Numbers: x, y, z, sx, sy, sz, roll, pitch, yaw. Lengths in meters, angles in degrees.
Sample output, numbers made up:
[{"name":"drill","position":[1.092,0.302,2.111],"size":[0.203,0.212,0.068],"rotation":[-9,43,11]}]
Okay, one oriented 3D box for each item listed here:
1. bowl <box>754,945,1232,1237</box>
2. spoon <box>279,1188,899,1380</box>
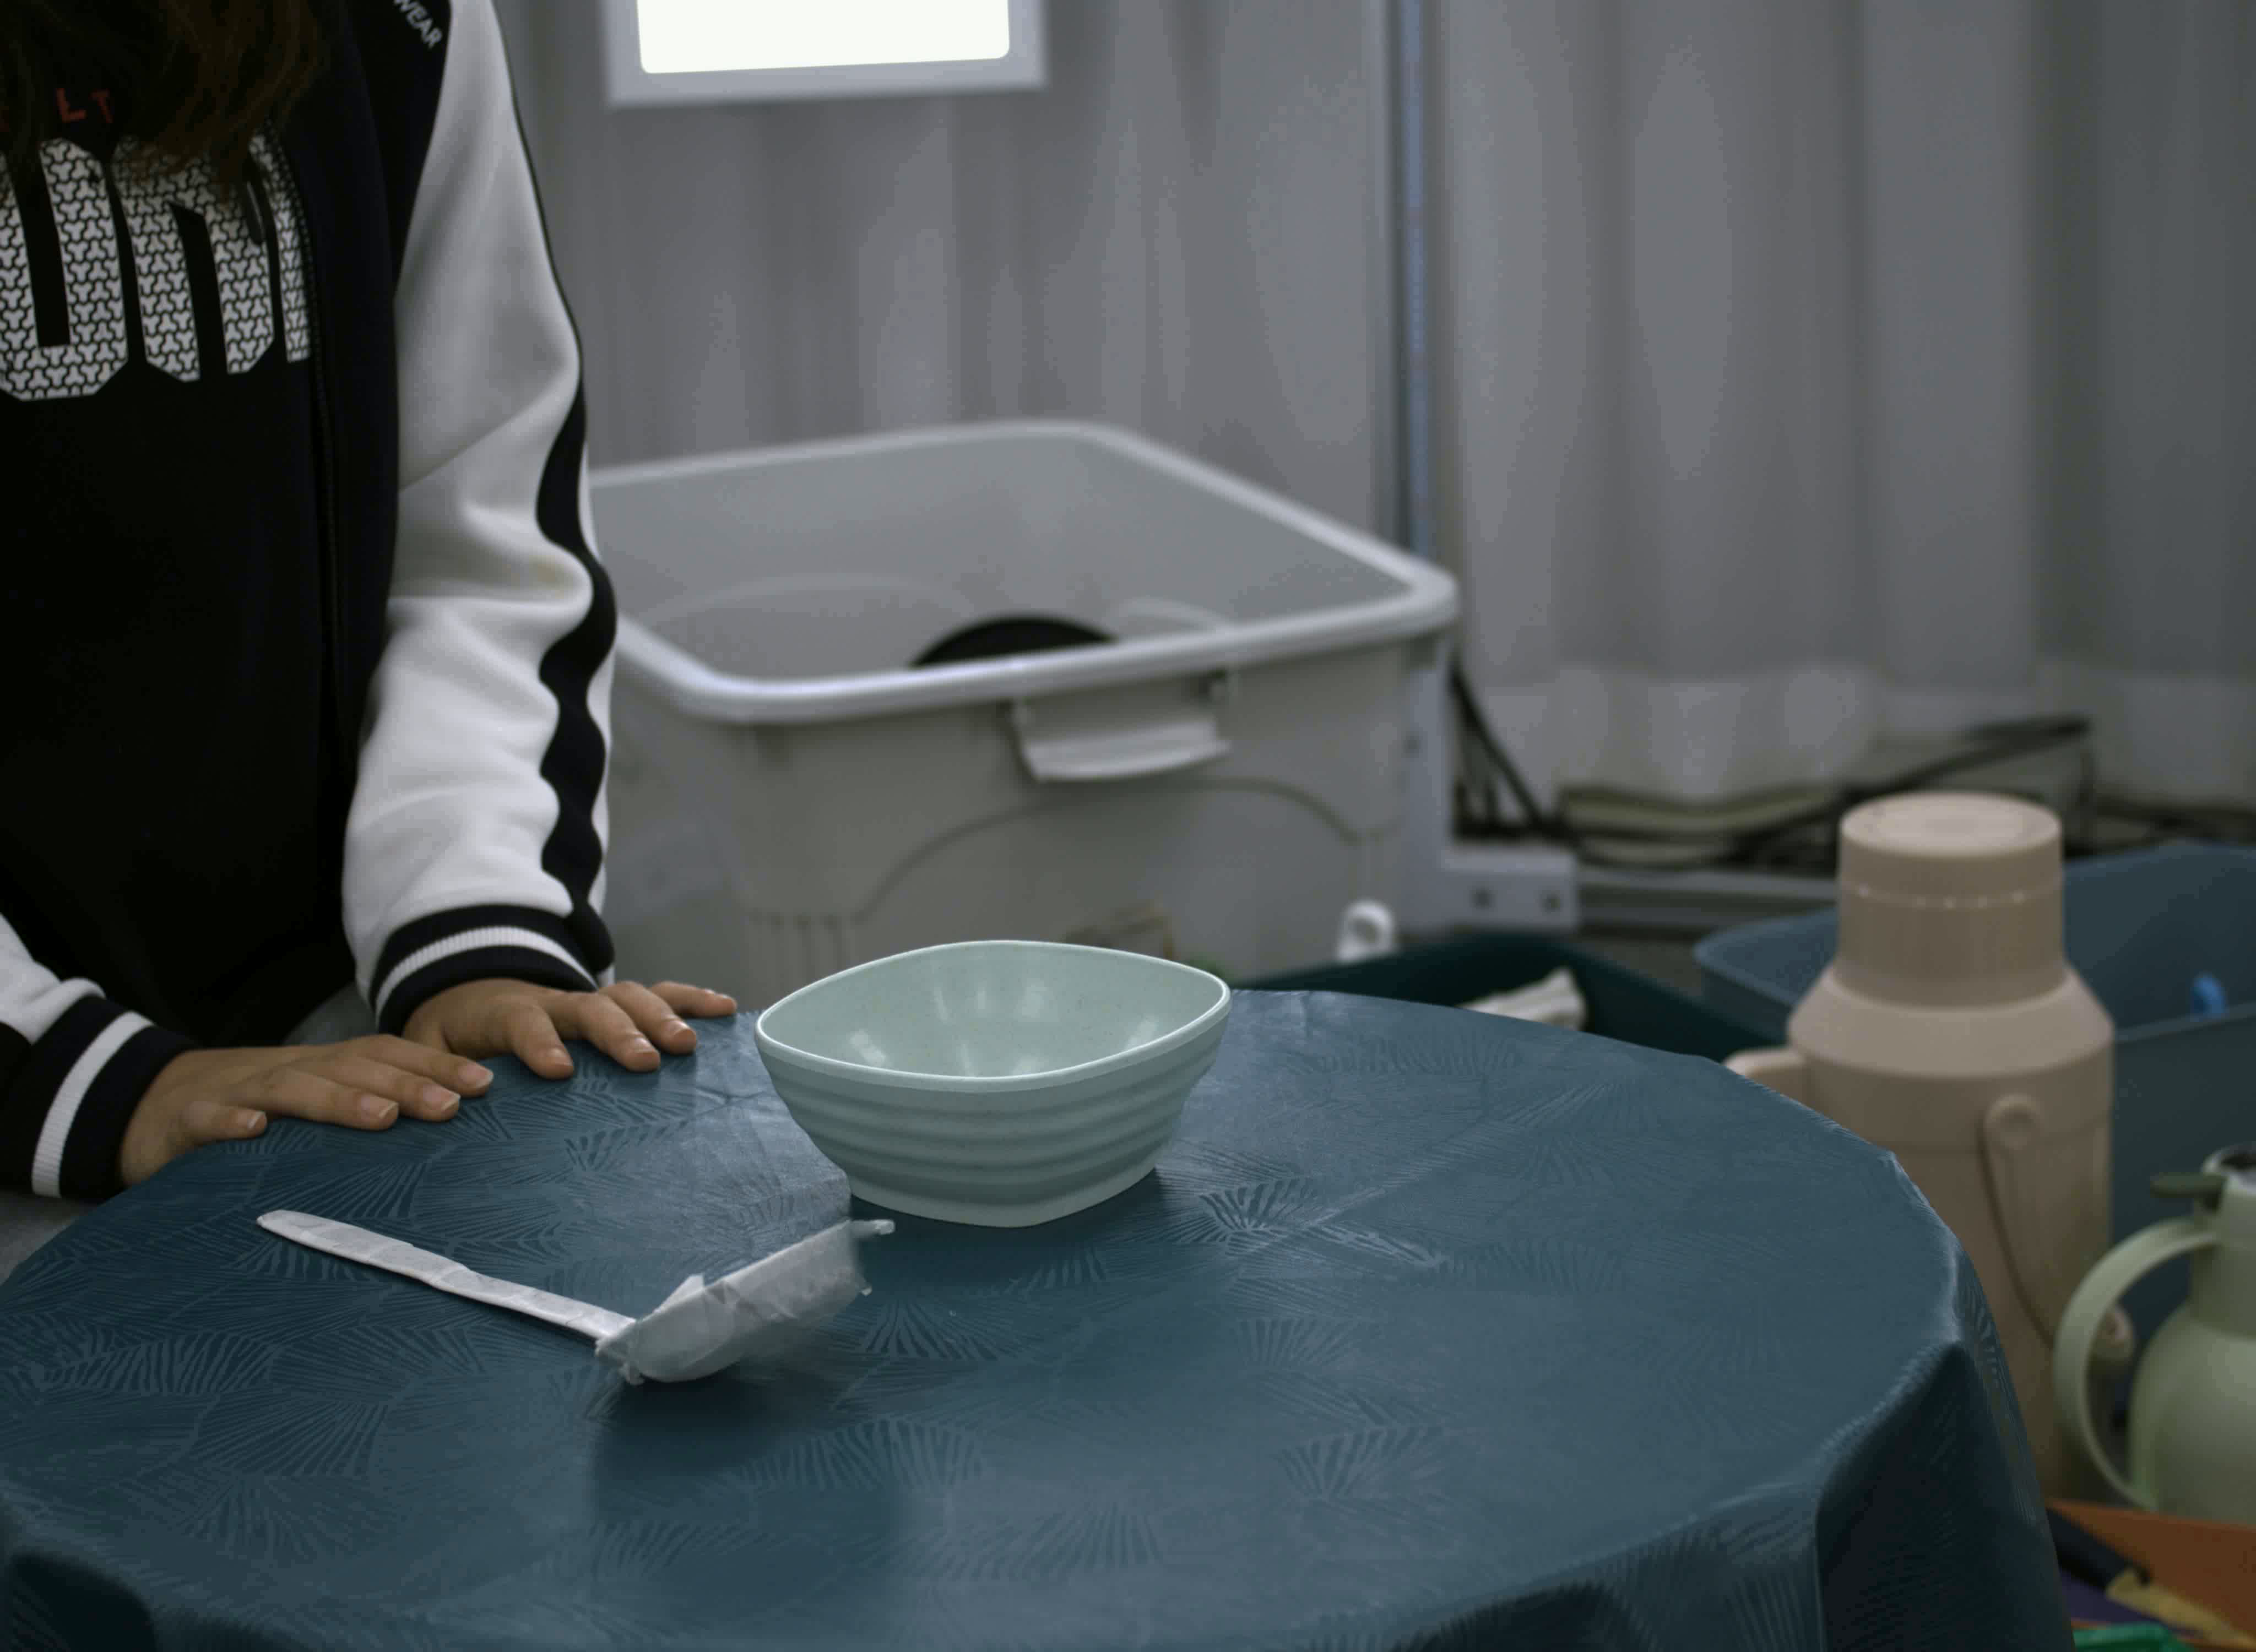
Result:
[{"name":"bowl","position":[-0.041,0.087,1.726],"size":[0.151,0.058,0.152],"rotation":[-3,15,0]},{"name":"spoon","position":[-0.171,0.116,1.632],"size":[0.100,0.059,0.279],"rotation":[-9,16,-40]}]
